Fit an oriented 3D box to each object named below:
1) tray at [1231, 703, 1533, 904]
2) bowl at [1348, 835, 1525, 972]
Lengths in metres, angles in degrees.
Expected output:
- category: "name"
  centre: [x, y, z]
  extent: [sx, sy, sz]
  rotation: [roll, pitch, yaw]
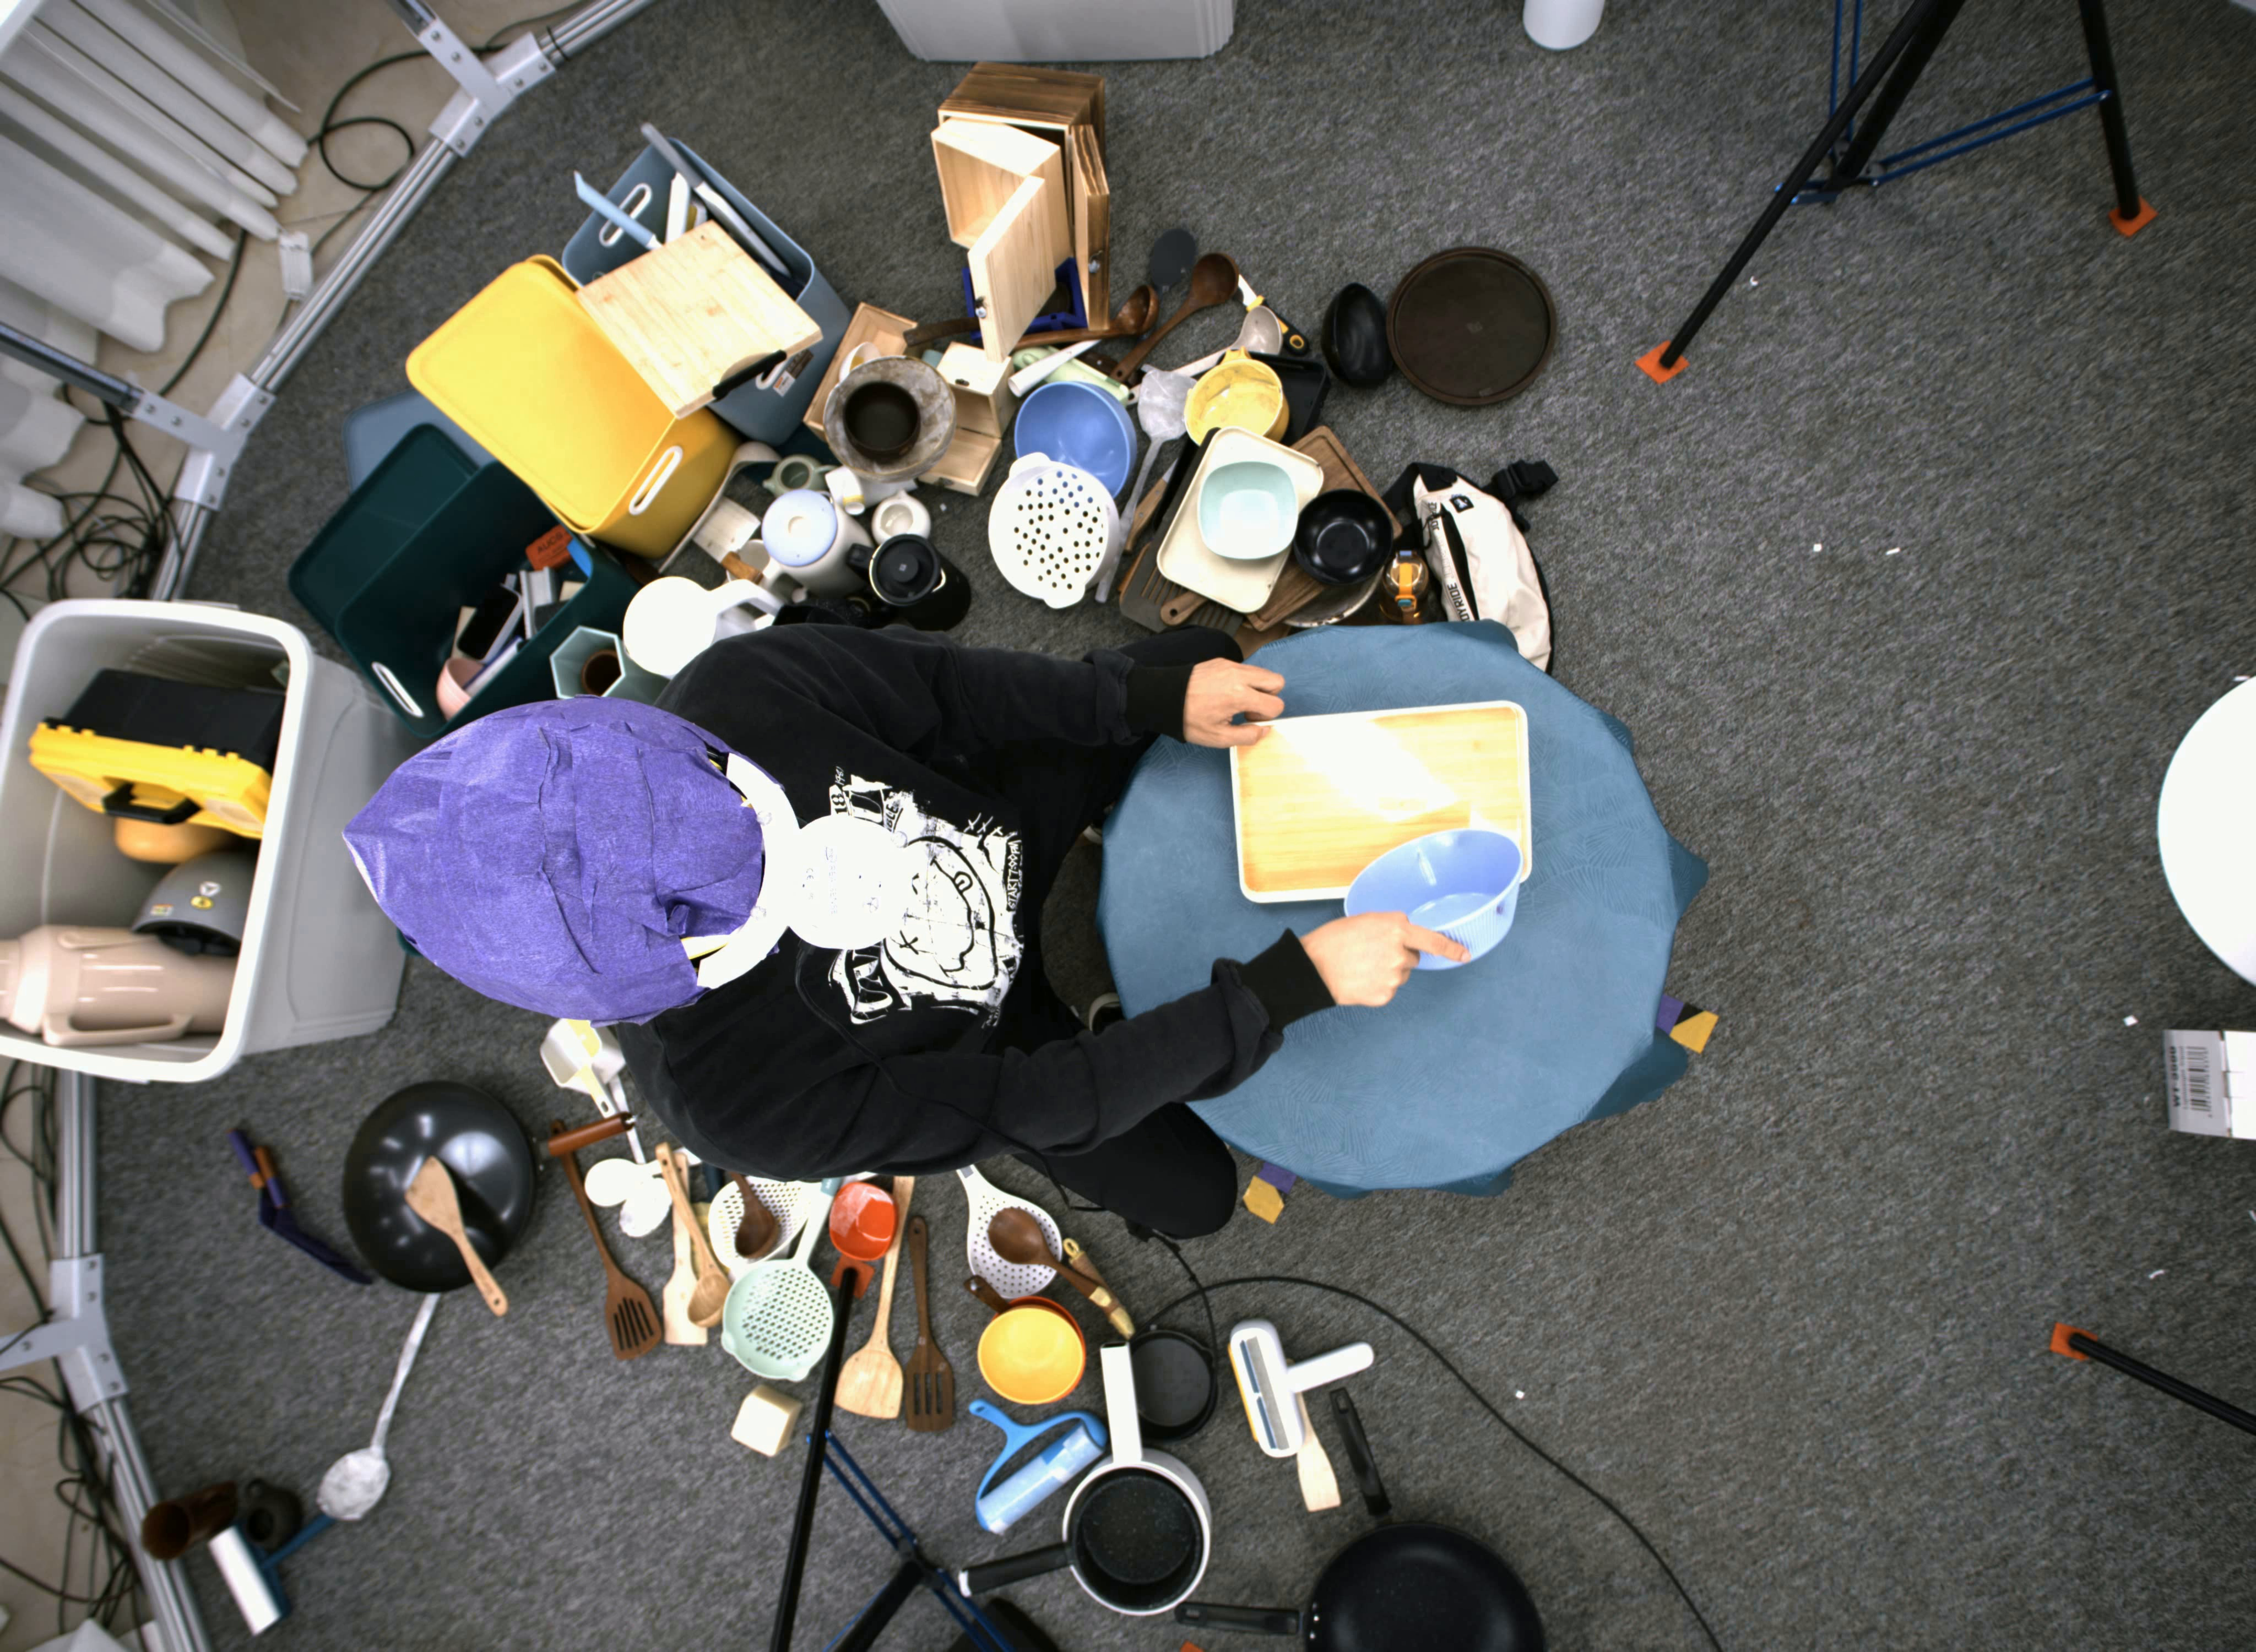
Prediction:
- category: "tray"
  centre: [0.262, -0.024, 1.423]
  extent: [0.301, 0.027, 0.193]
  rotation: [-4, 104, 6]
- category: "bowl"
  centre: [0.305, 0.080, 1.332]
  extent: [0.177, 0.172, 0.071]
  rotation: [-22, 113, 7]
